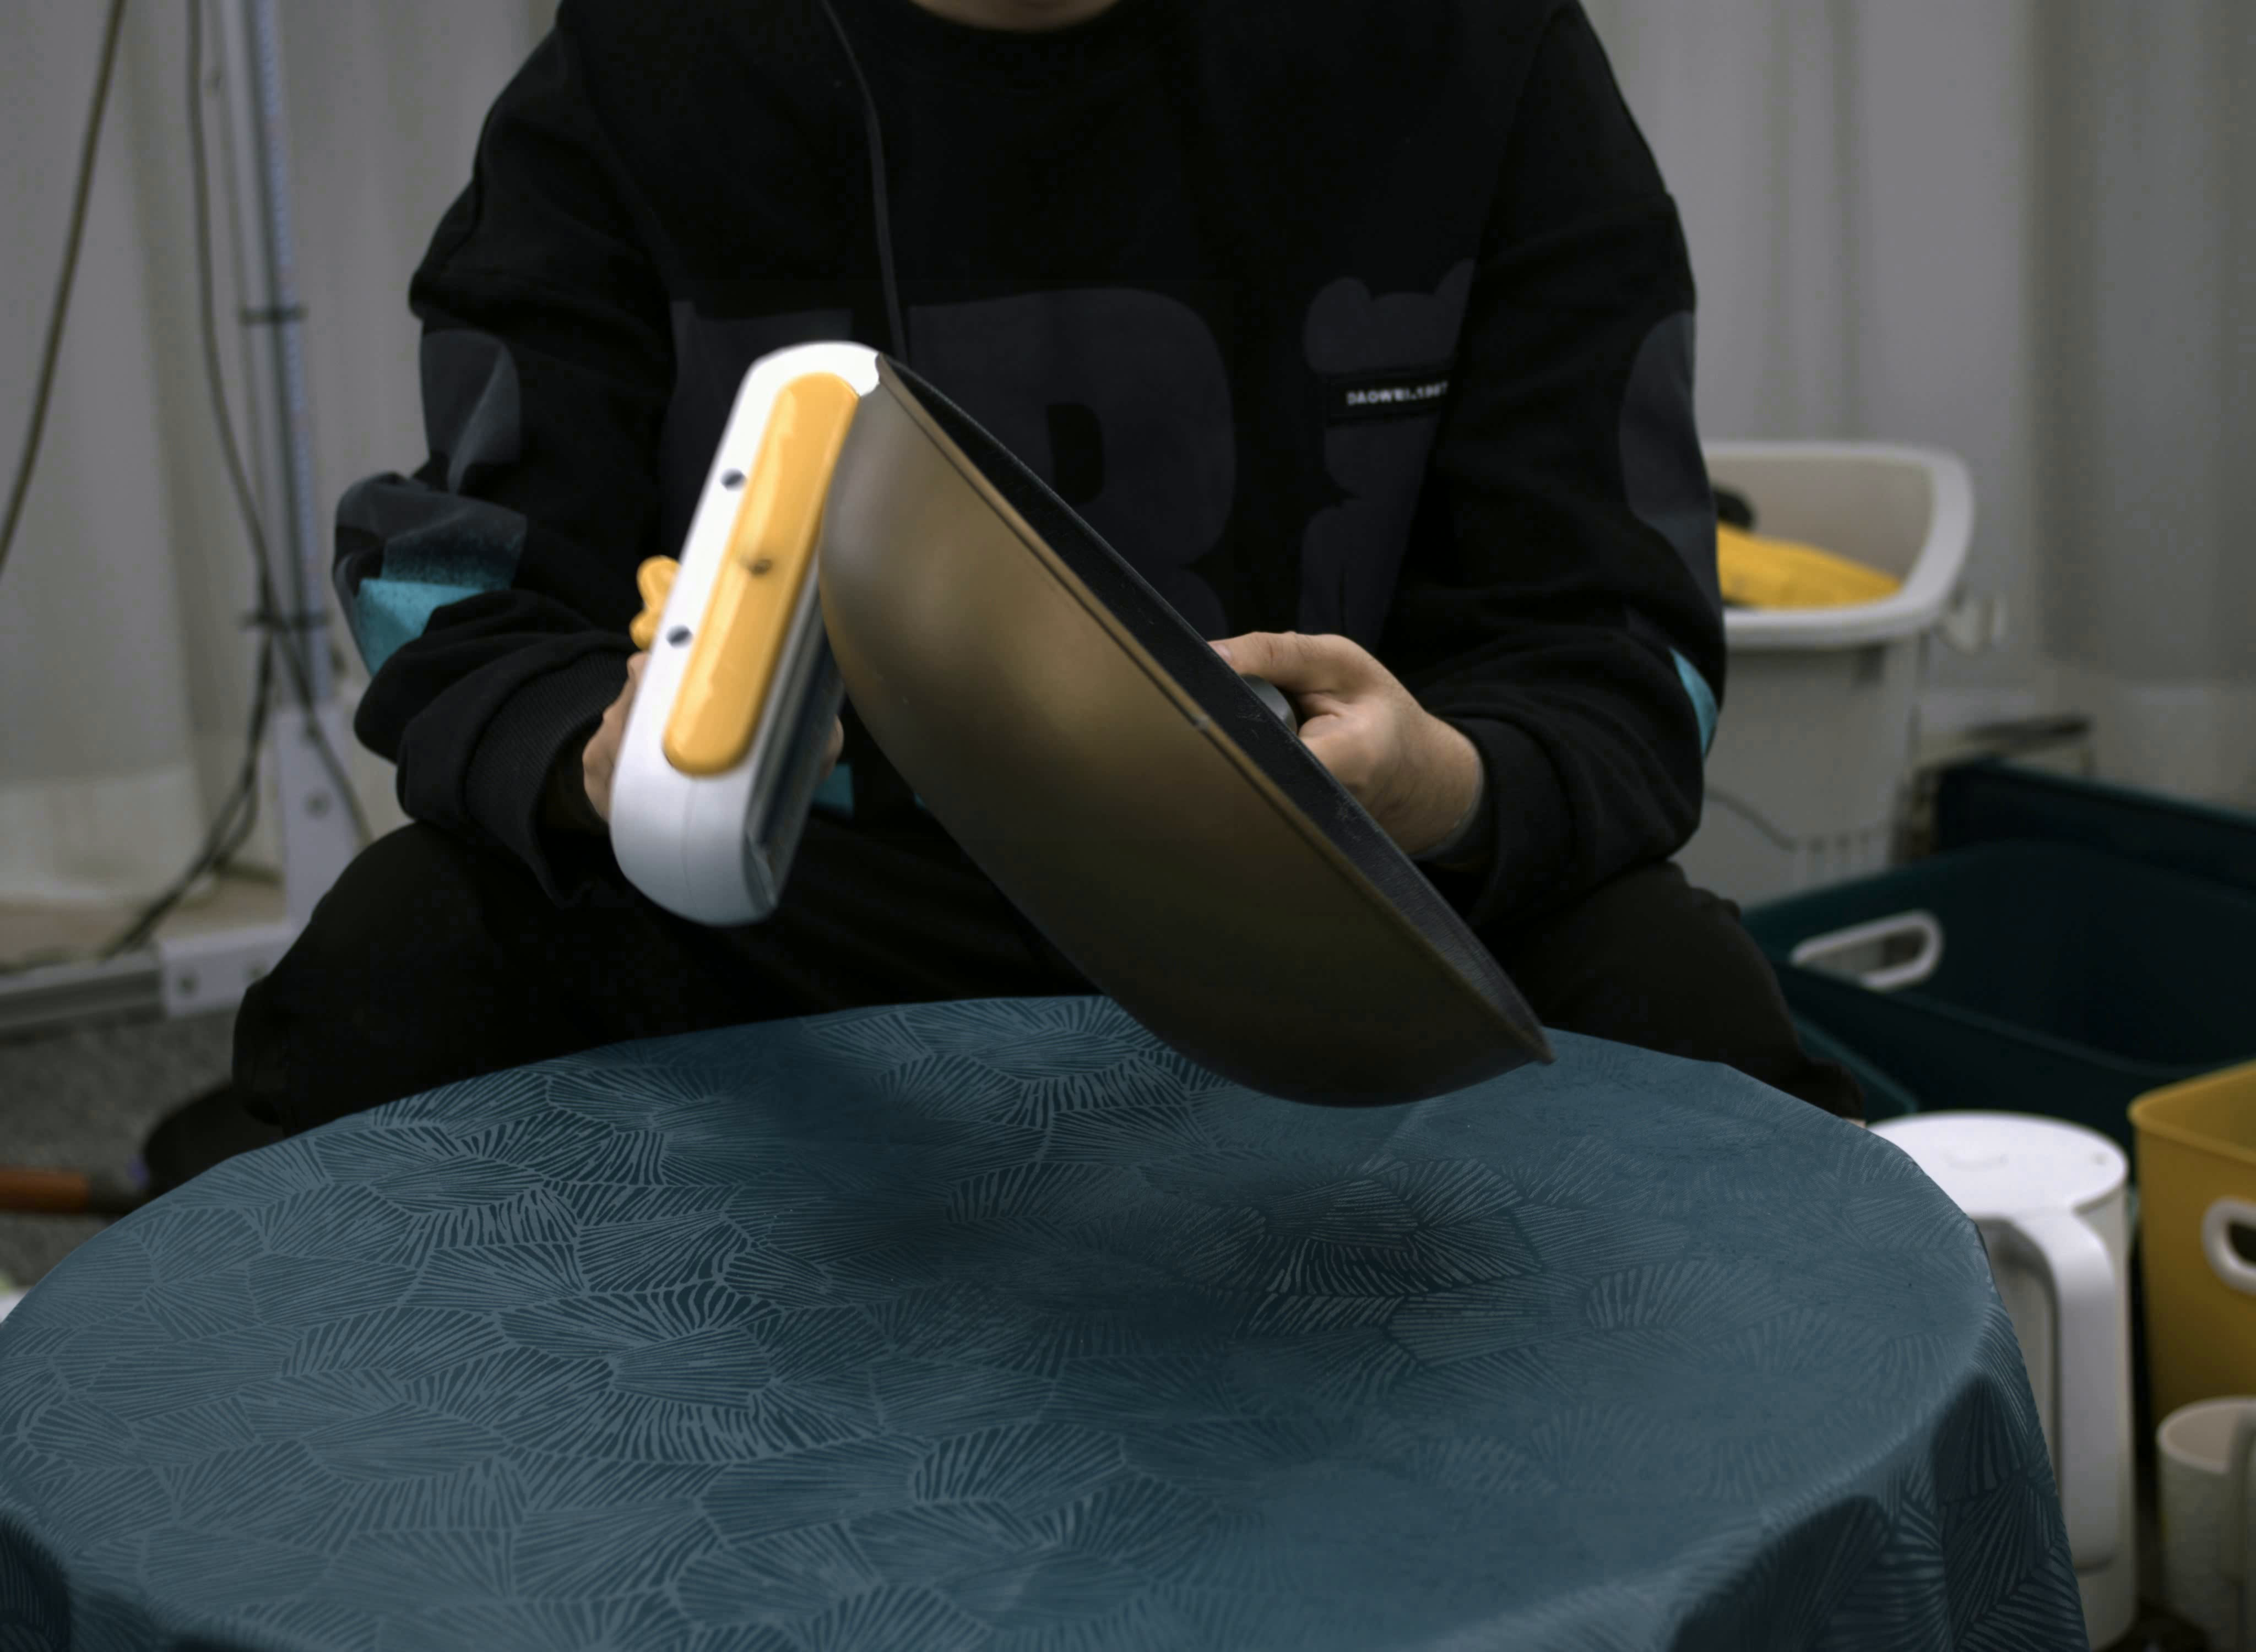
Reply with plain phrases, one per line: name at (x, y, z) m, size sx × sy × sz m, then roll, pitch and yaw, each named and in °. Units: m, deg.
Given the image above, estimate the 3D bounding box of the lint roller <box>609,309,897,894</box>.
lint roller at (-0.120, -0.040, 1.718) m, size 0.074 × 0.190 × 0.195 m, roll 9°, pitch 57°, yaw 3°

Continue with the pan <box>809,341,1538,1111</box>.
pan at (0.007, -0.014, 1.698) m, size 0.087 × 0.289 × 0.463 m, roll -43°, pitch -4°, yaw 5°
